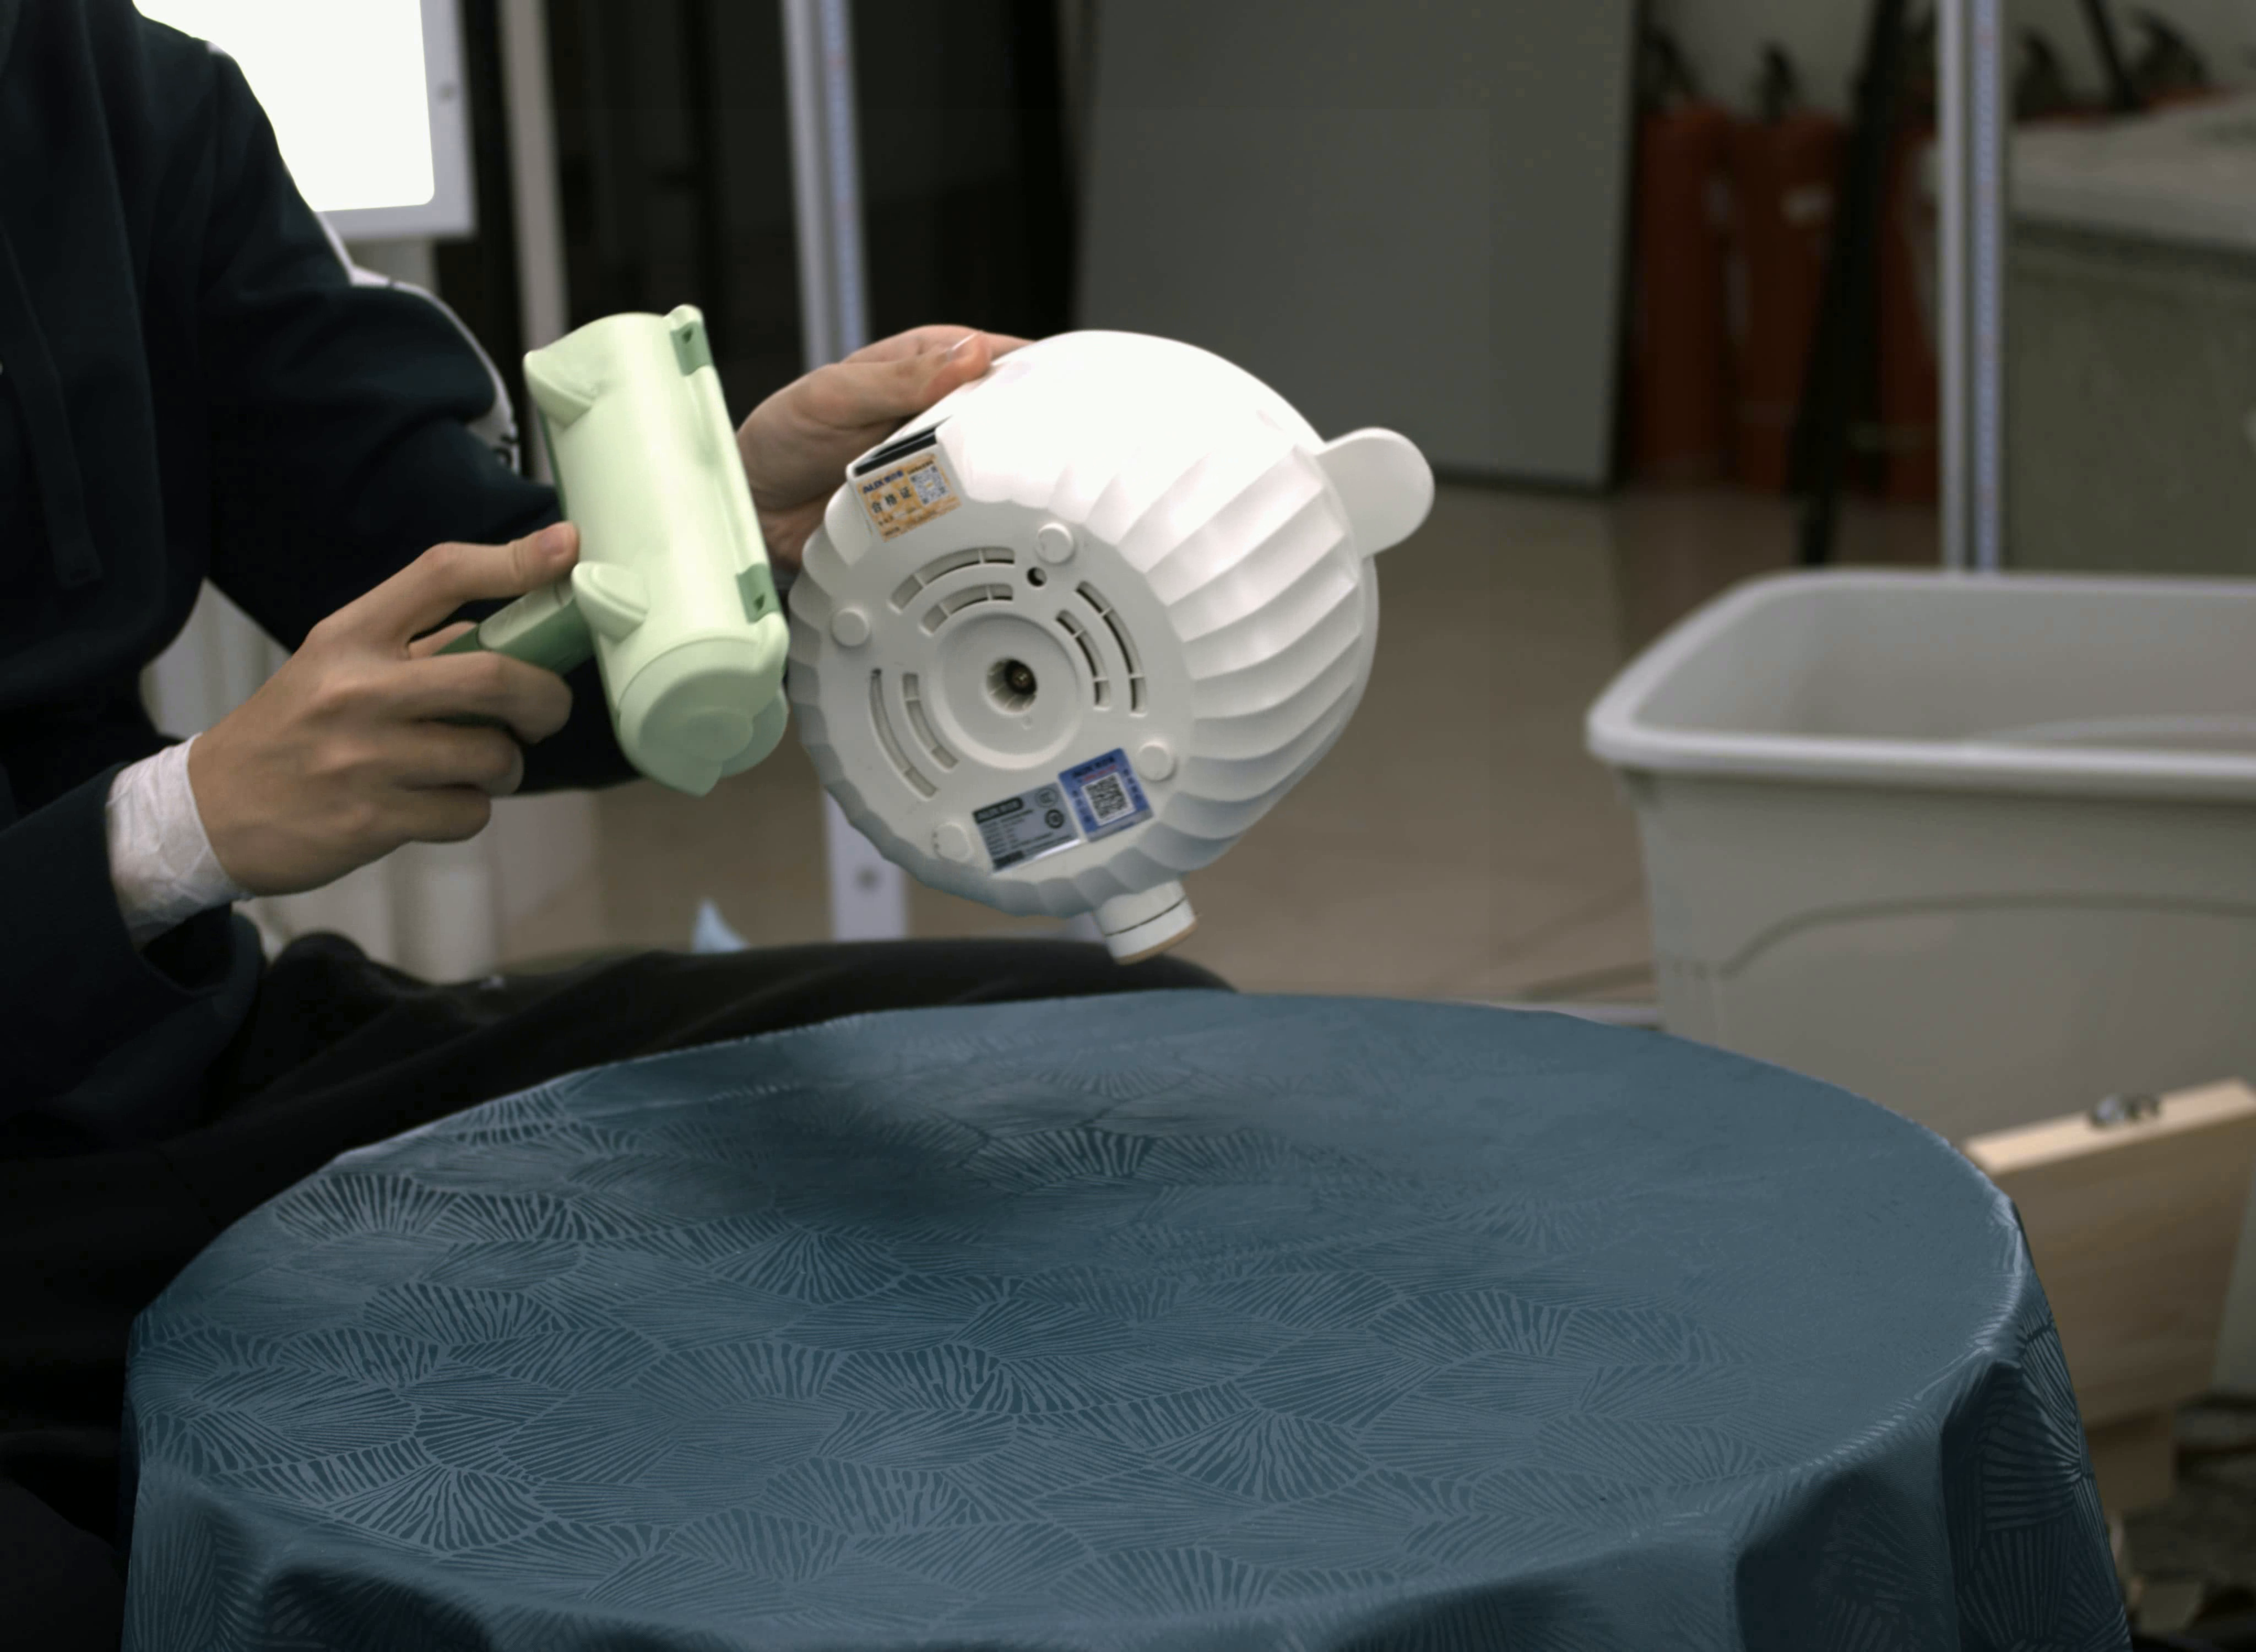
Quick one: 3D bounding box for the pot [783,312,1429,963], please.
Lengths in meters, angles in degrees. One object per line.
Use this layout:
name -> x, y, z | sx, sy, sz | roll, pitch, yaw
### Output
pot -> -0.020, -0.060, 1.793 | 0.241, 0.191, 0.141 | -21, 12, 26

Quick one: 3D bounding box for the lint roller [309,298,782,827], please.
lint roller -> -0.200, -0.068, 1.722 | 0.183, 0.081, 0.201 | -30, 40, 10
